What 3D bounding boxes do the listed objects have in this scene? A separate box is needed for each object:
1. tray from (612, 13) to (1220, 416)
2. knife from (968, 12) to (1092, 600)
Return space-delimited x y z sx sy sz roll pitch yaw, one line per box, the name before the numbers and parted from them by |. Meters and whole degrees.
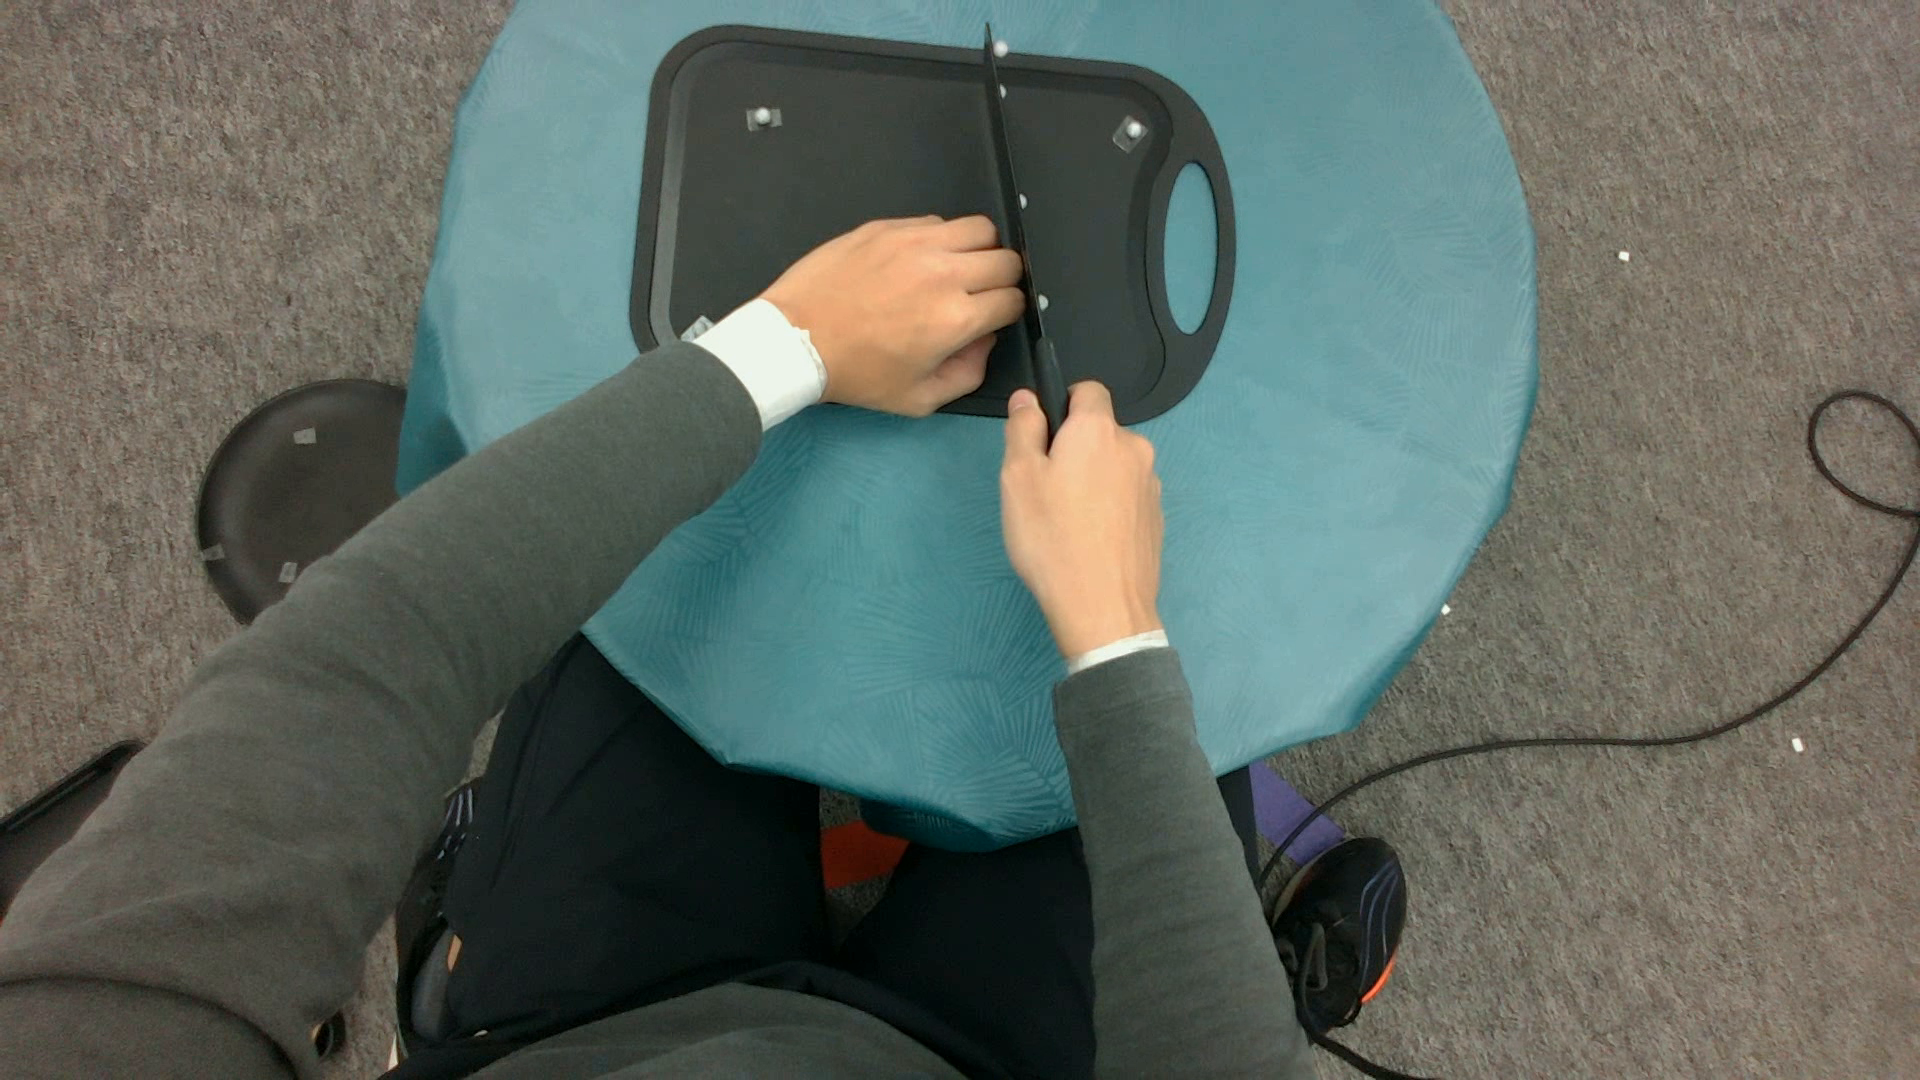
tray | -0.018 -0.178 0.747 0.325 0.010 0.211 5 79 -5
knife | 0.030 -0.118 0.693 0.021 0.081 0.303 -9 75 -3
